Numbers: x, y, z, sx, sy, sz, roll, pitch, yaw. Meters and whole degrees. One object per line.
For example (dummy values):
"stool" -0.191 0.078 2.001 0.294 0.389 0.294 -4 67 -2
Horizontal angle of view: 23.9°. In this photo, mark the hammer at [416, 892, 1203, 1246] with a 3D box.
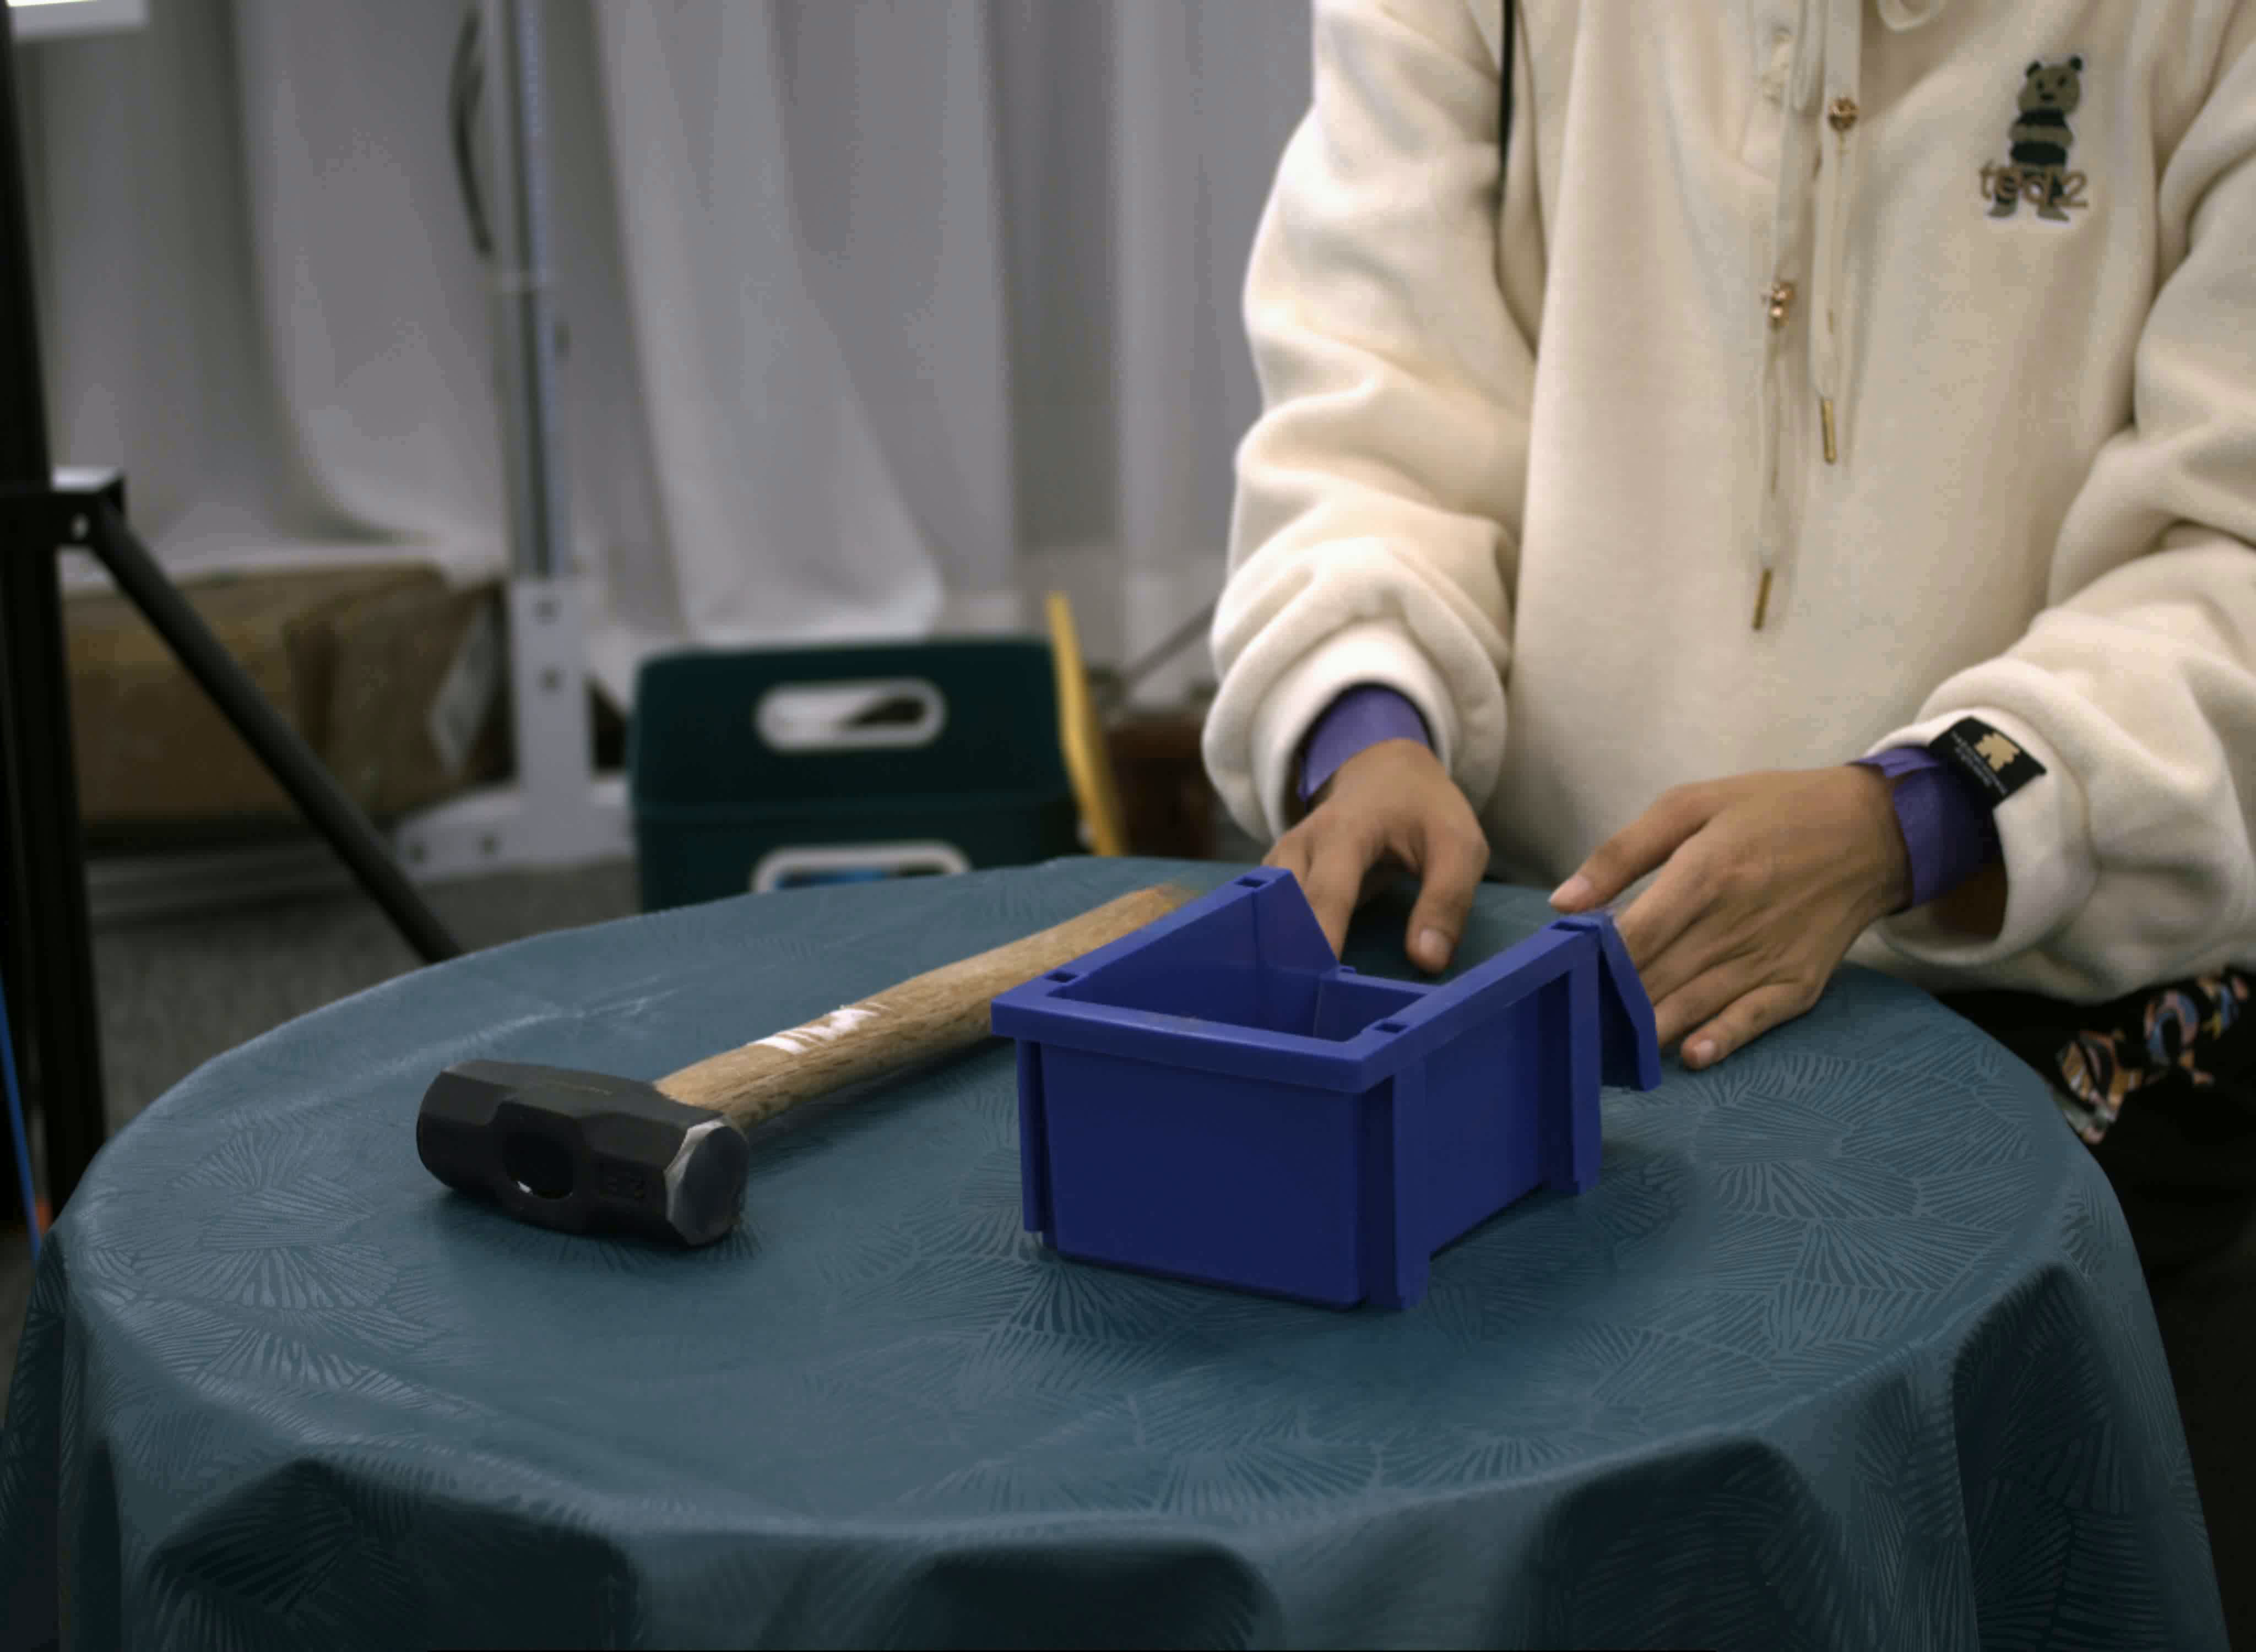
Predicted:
"hammer" -0.077 0.066 1.656 0.109 0.038 0.298 10 19 39

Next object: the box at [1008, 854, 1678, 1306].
"box" 0.064 0.069 1.537 0.127 0.082 0.176 8 21 33
